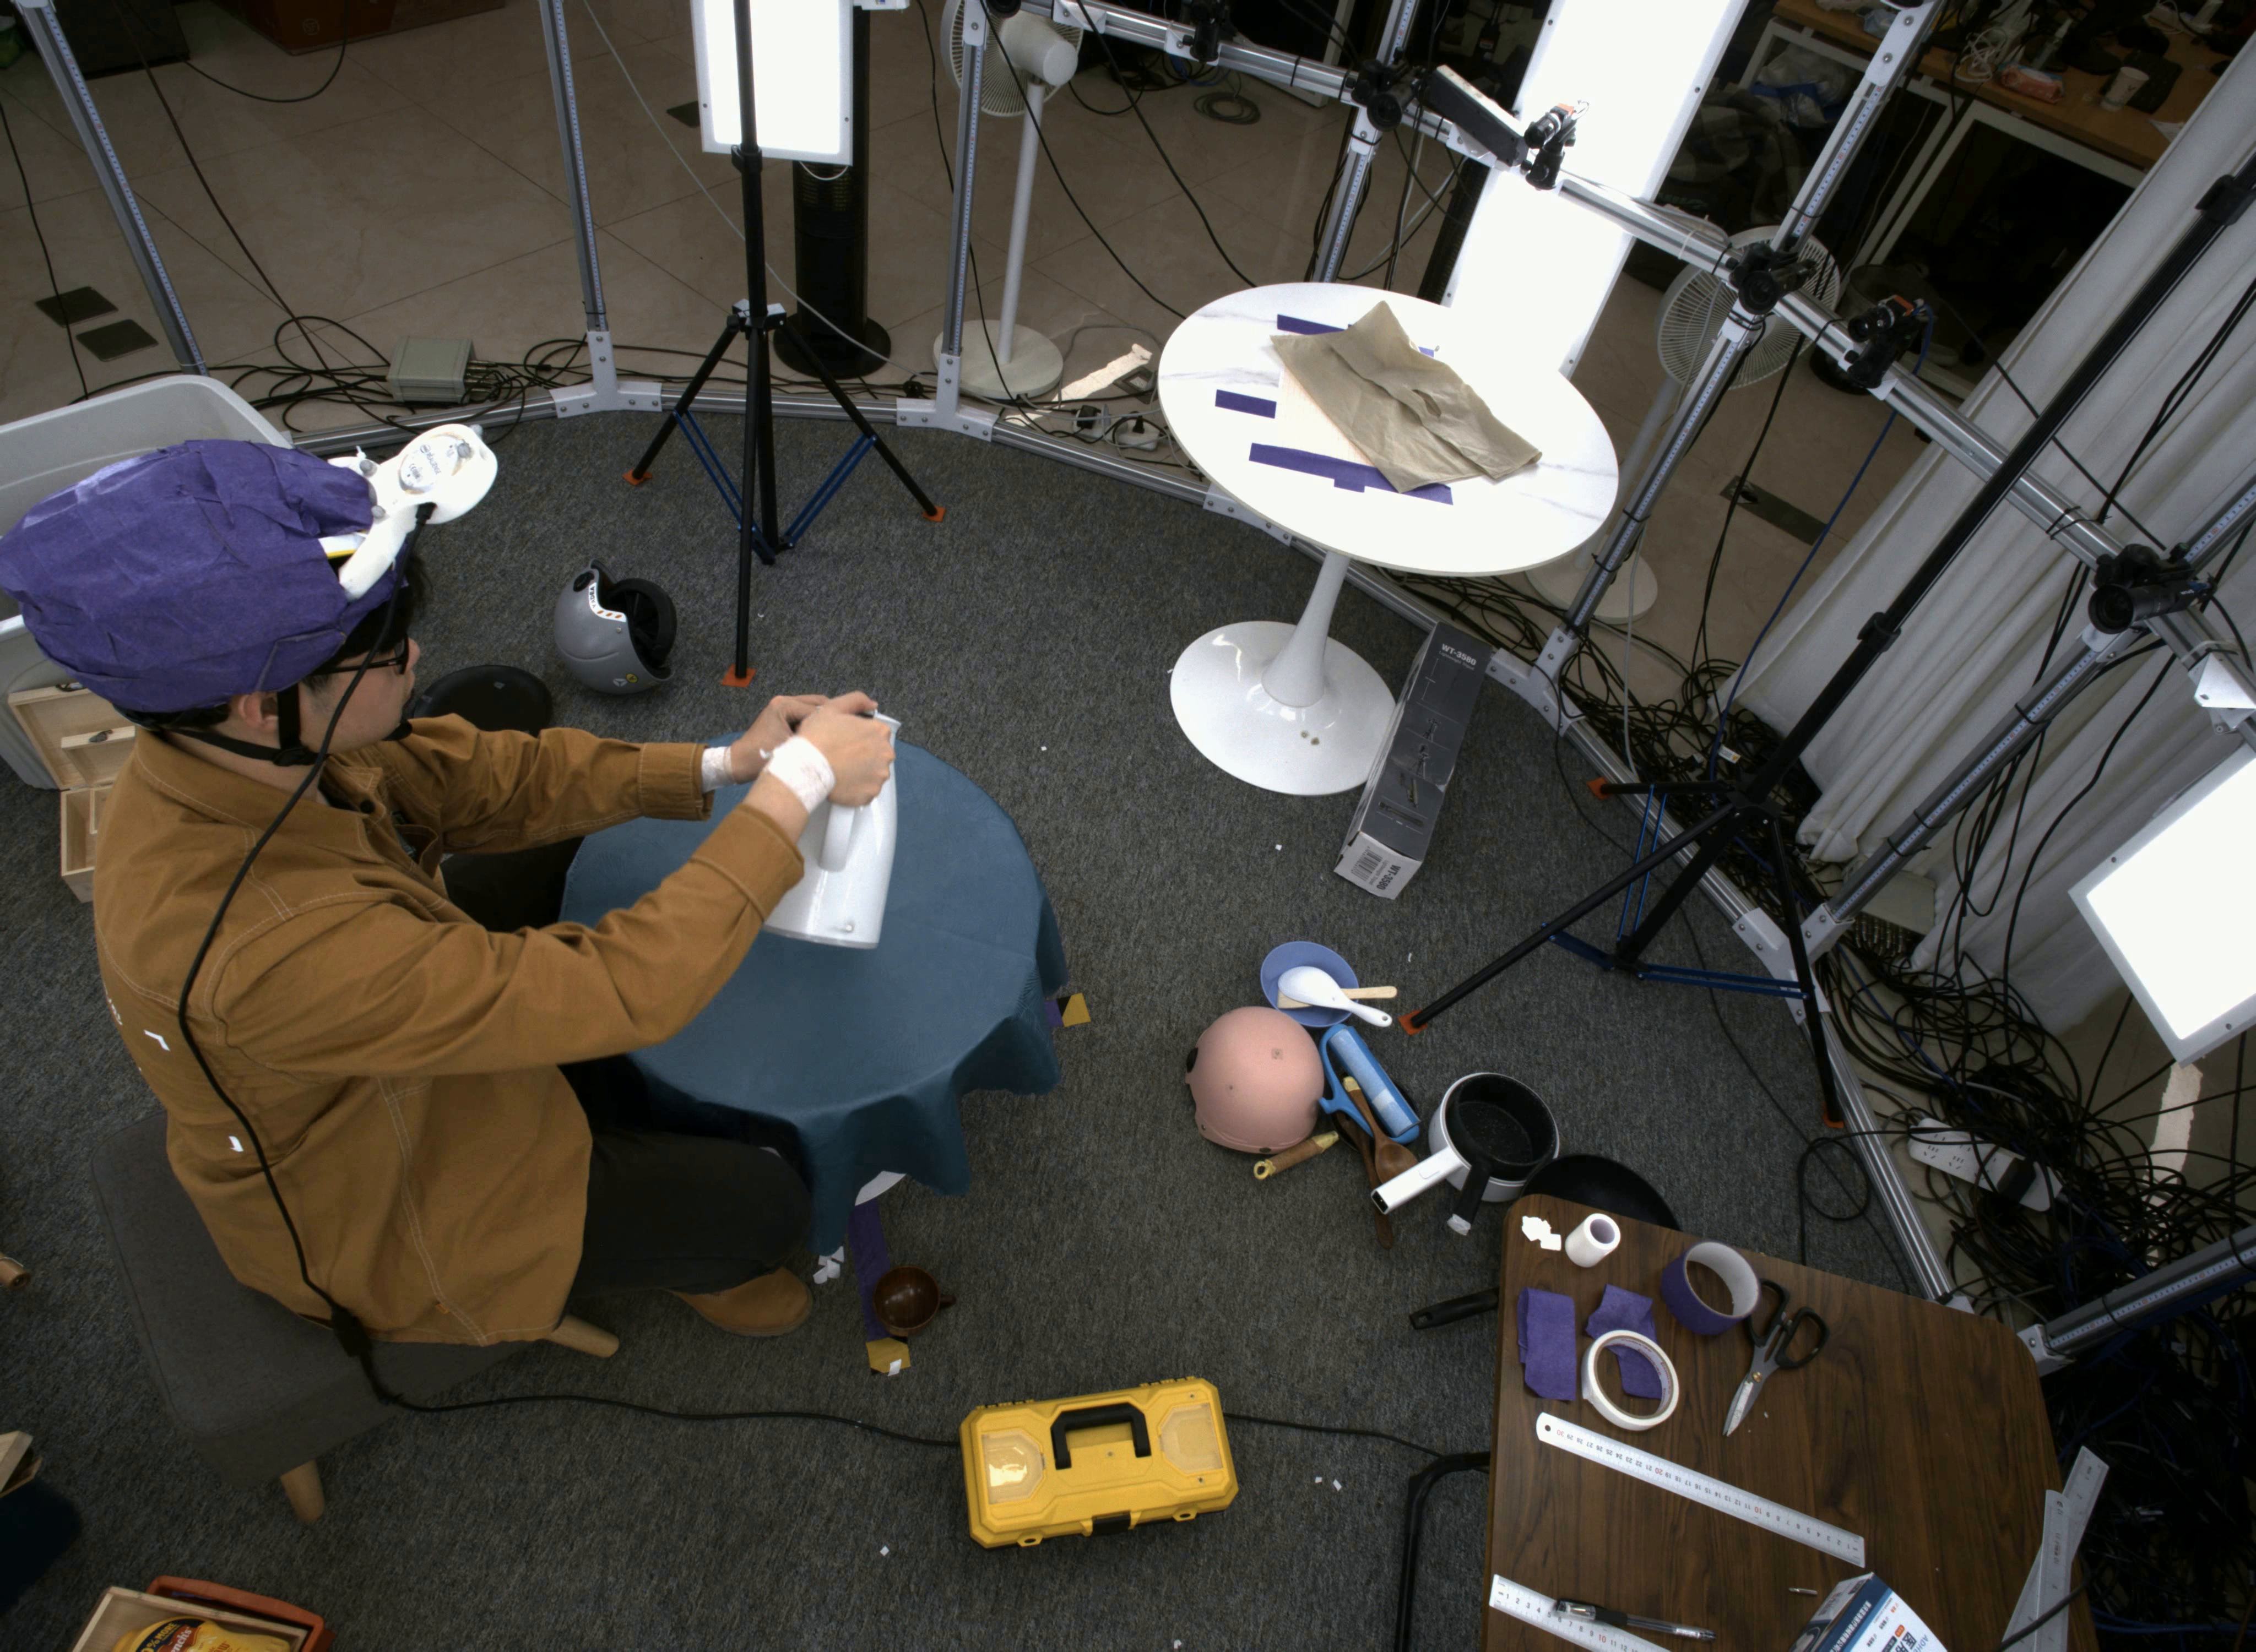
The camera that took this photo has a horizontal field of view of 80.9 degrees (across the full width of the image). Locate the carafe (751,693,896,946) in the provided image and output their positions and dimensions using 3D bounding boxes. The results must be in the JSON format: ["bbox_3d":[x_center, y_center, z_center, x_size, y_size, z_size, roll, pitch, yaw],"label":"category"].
[{"bbox_3d":[-0.303,-0.010,1.346,0.133,0.165,0.251,11,90,-15],"label":"carafe"}]

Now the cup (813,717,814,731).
[{"bbox_3d":[-0.344,-0.082,1.536,0.067,0.134,0.066,7,60,-12],"label":"cup"}]
